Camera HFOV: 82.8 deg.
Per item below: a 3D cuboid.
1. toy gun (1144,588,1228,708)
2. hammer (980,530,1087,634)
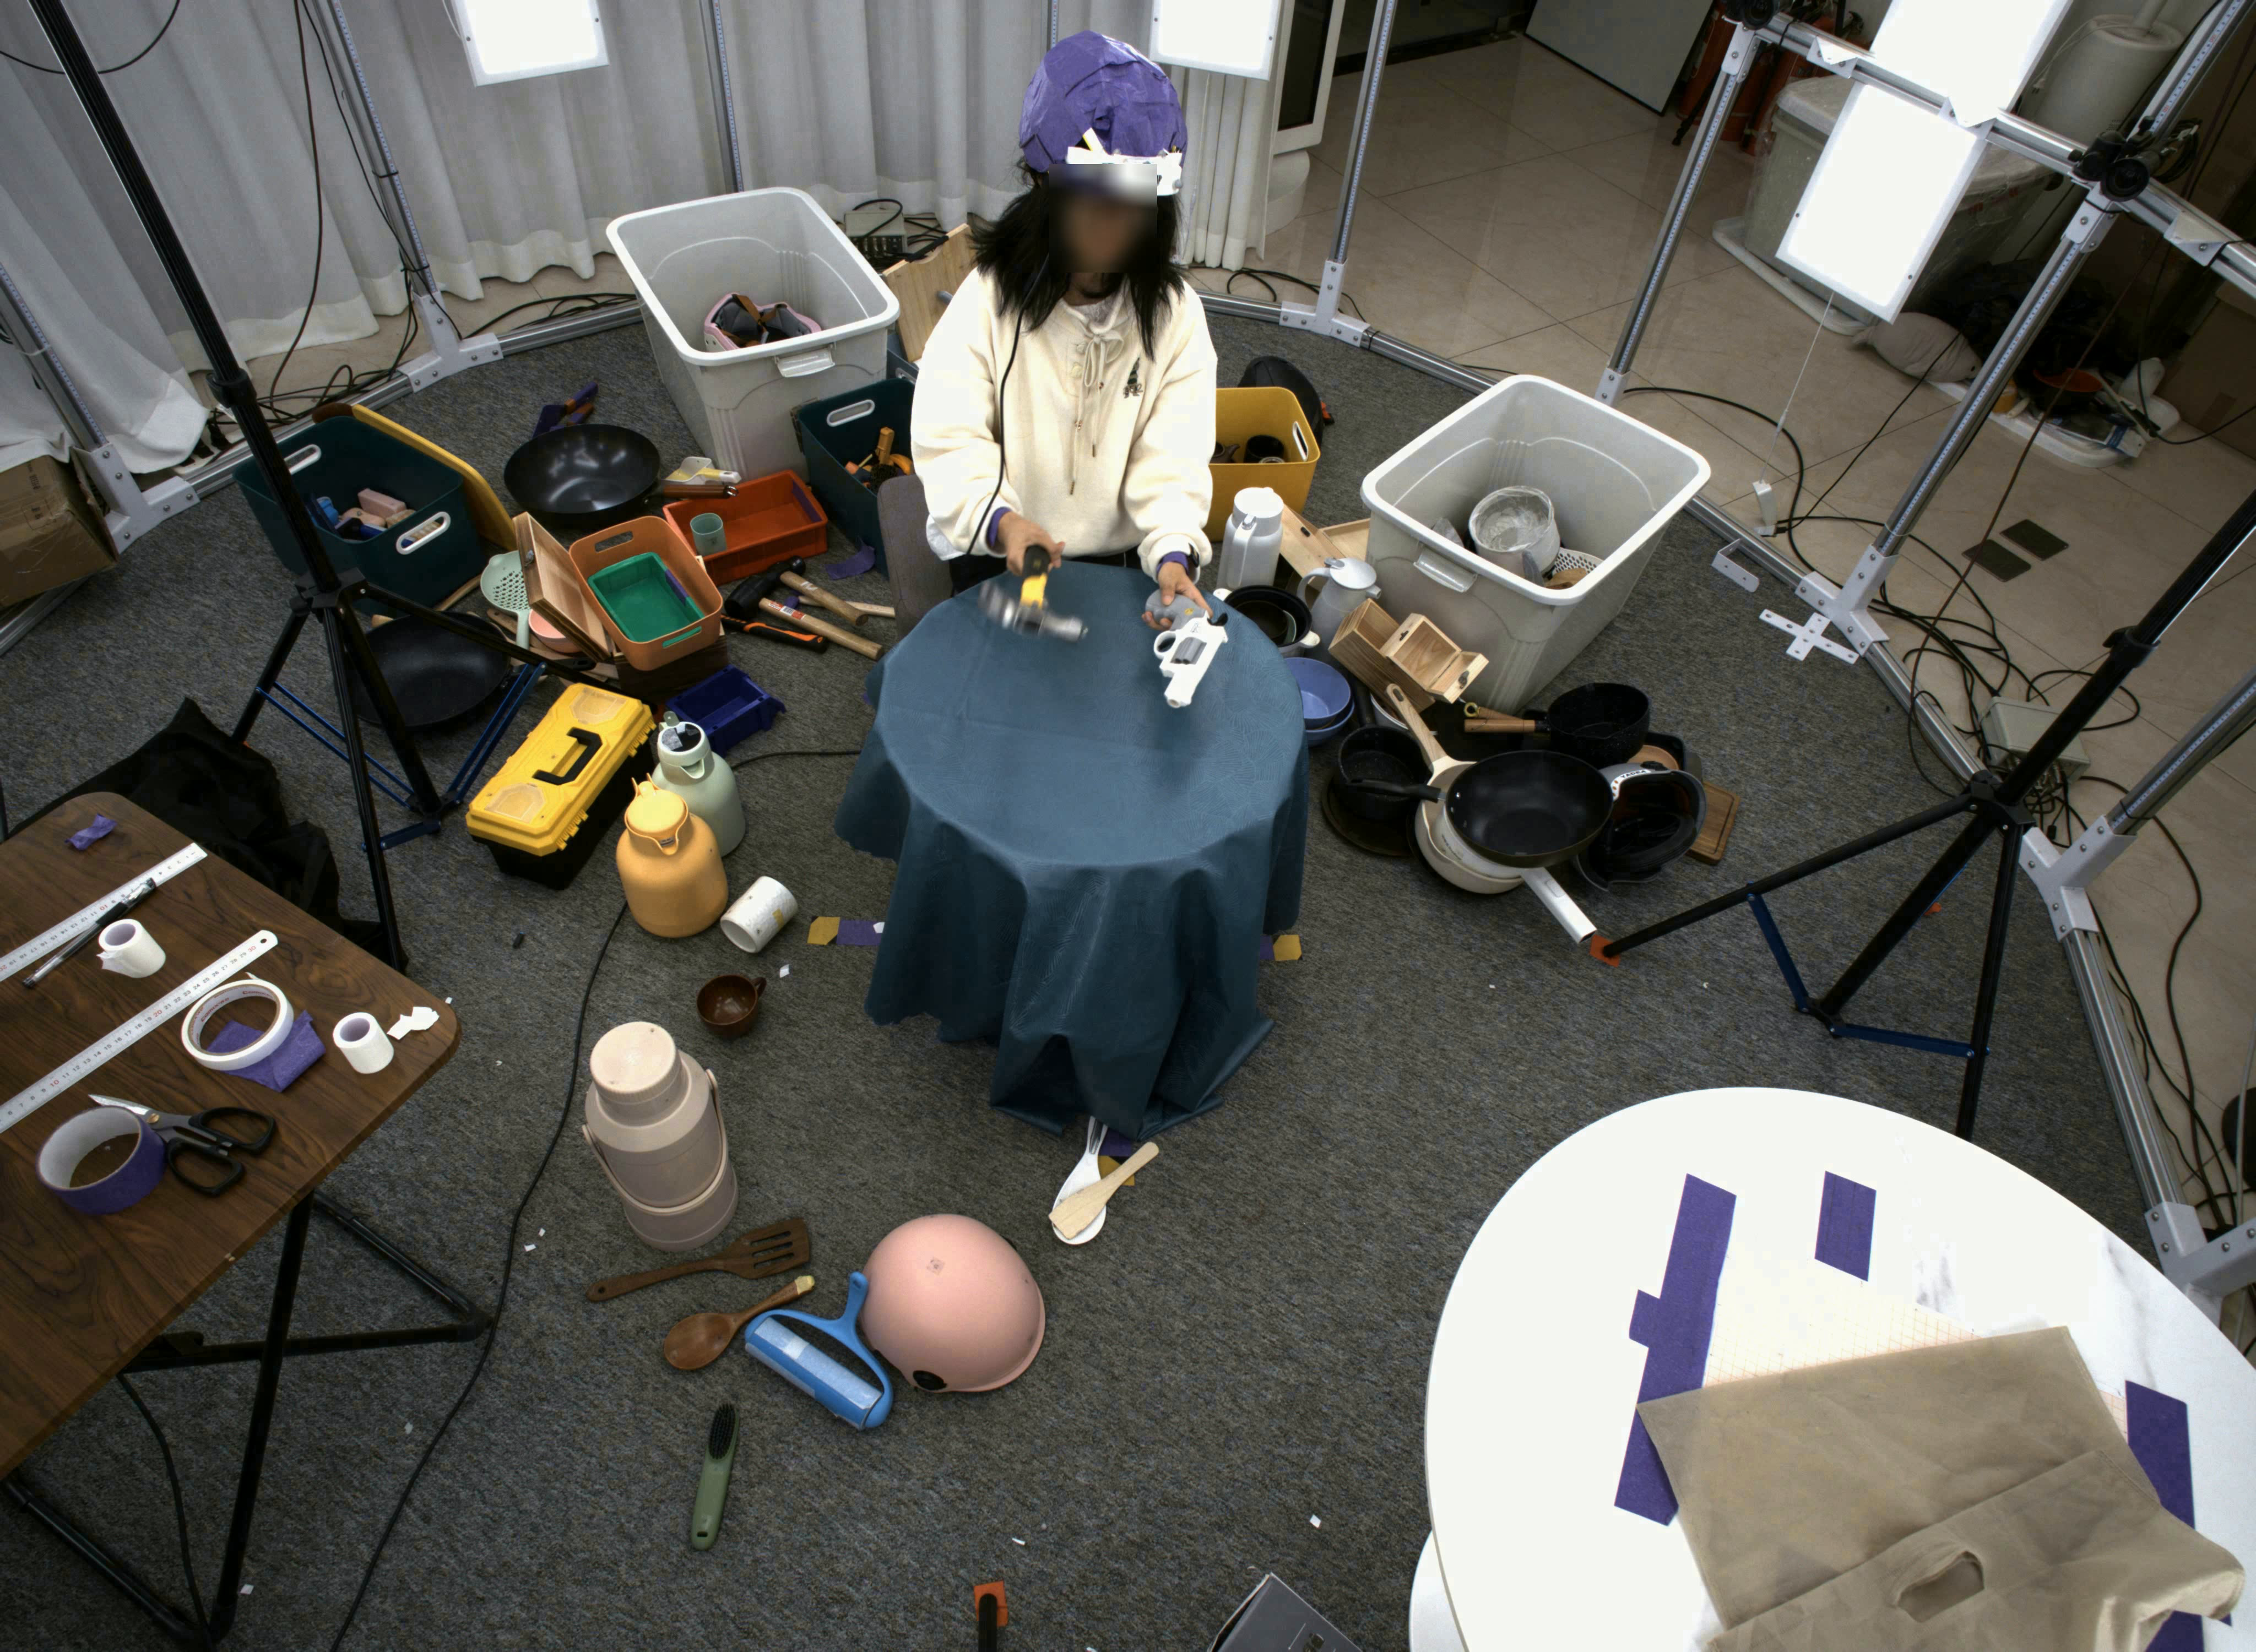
[{"bbox_3d":[0.064,-0.249,1.769,0.142,0.038,0.213,7,54,29],"label":"toy gun"},{"bbox_3d":[-0.119,-0.337,1.701,0.131,0.032,0.345,15,25,-8],"label":"hammer"}]
